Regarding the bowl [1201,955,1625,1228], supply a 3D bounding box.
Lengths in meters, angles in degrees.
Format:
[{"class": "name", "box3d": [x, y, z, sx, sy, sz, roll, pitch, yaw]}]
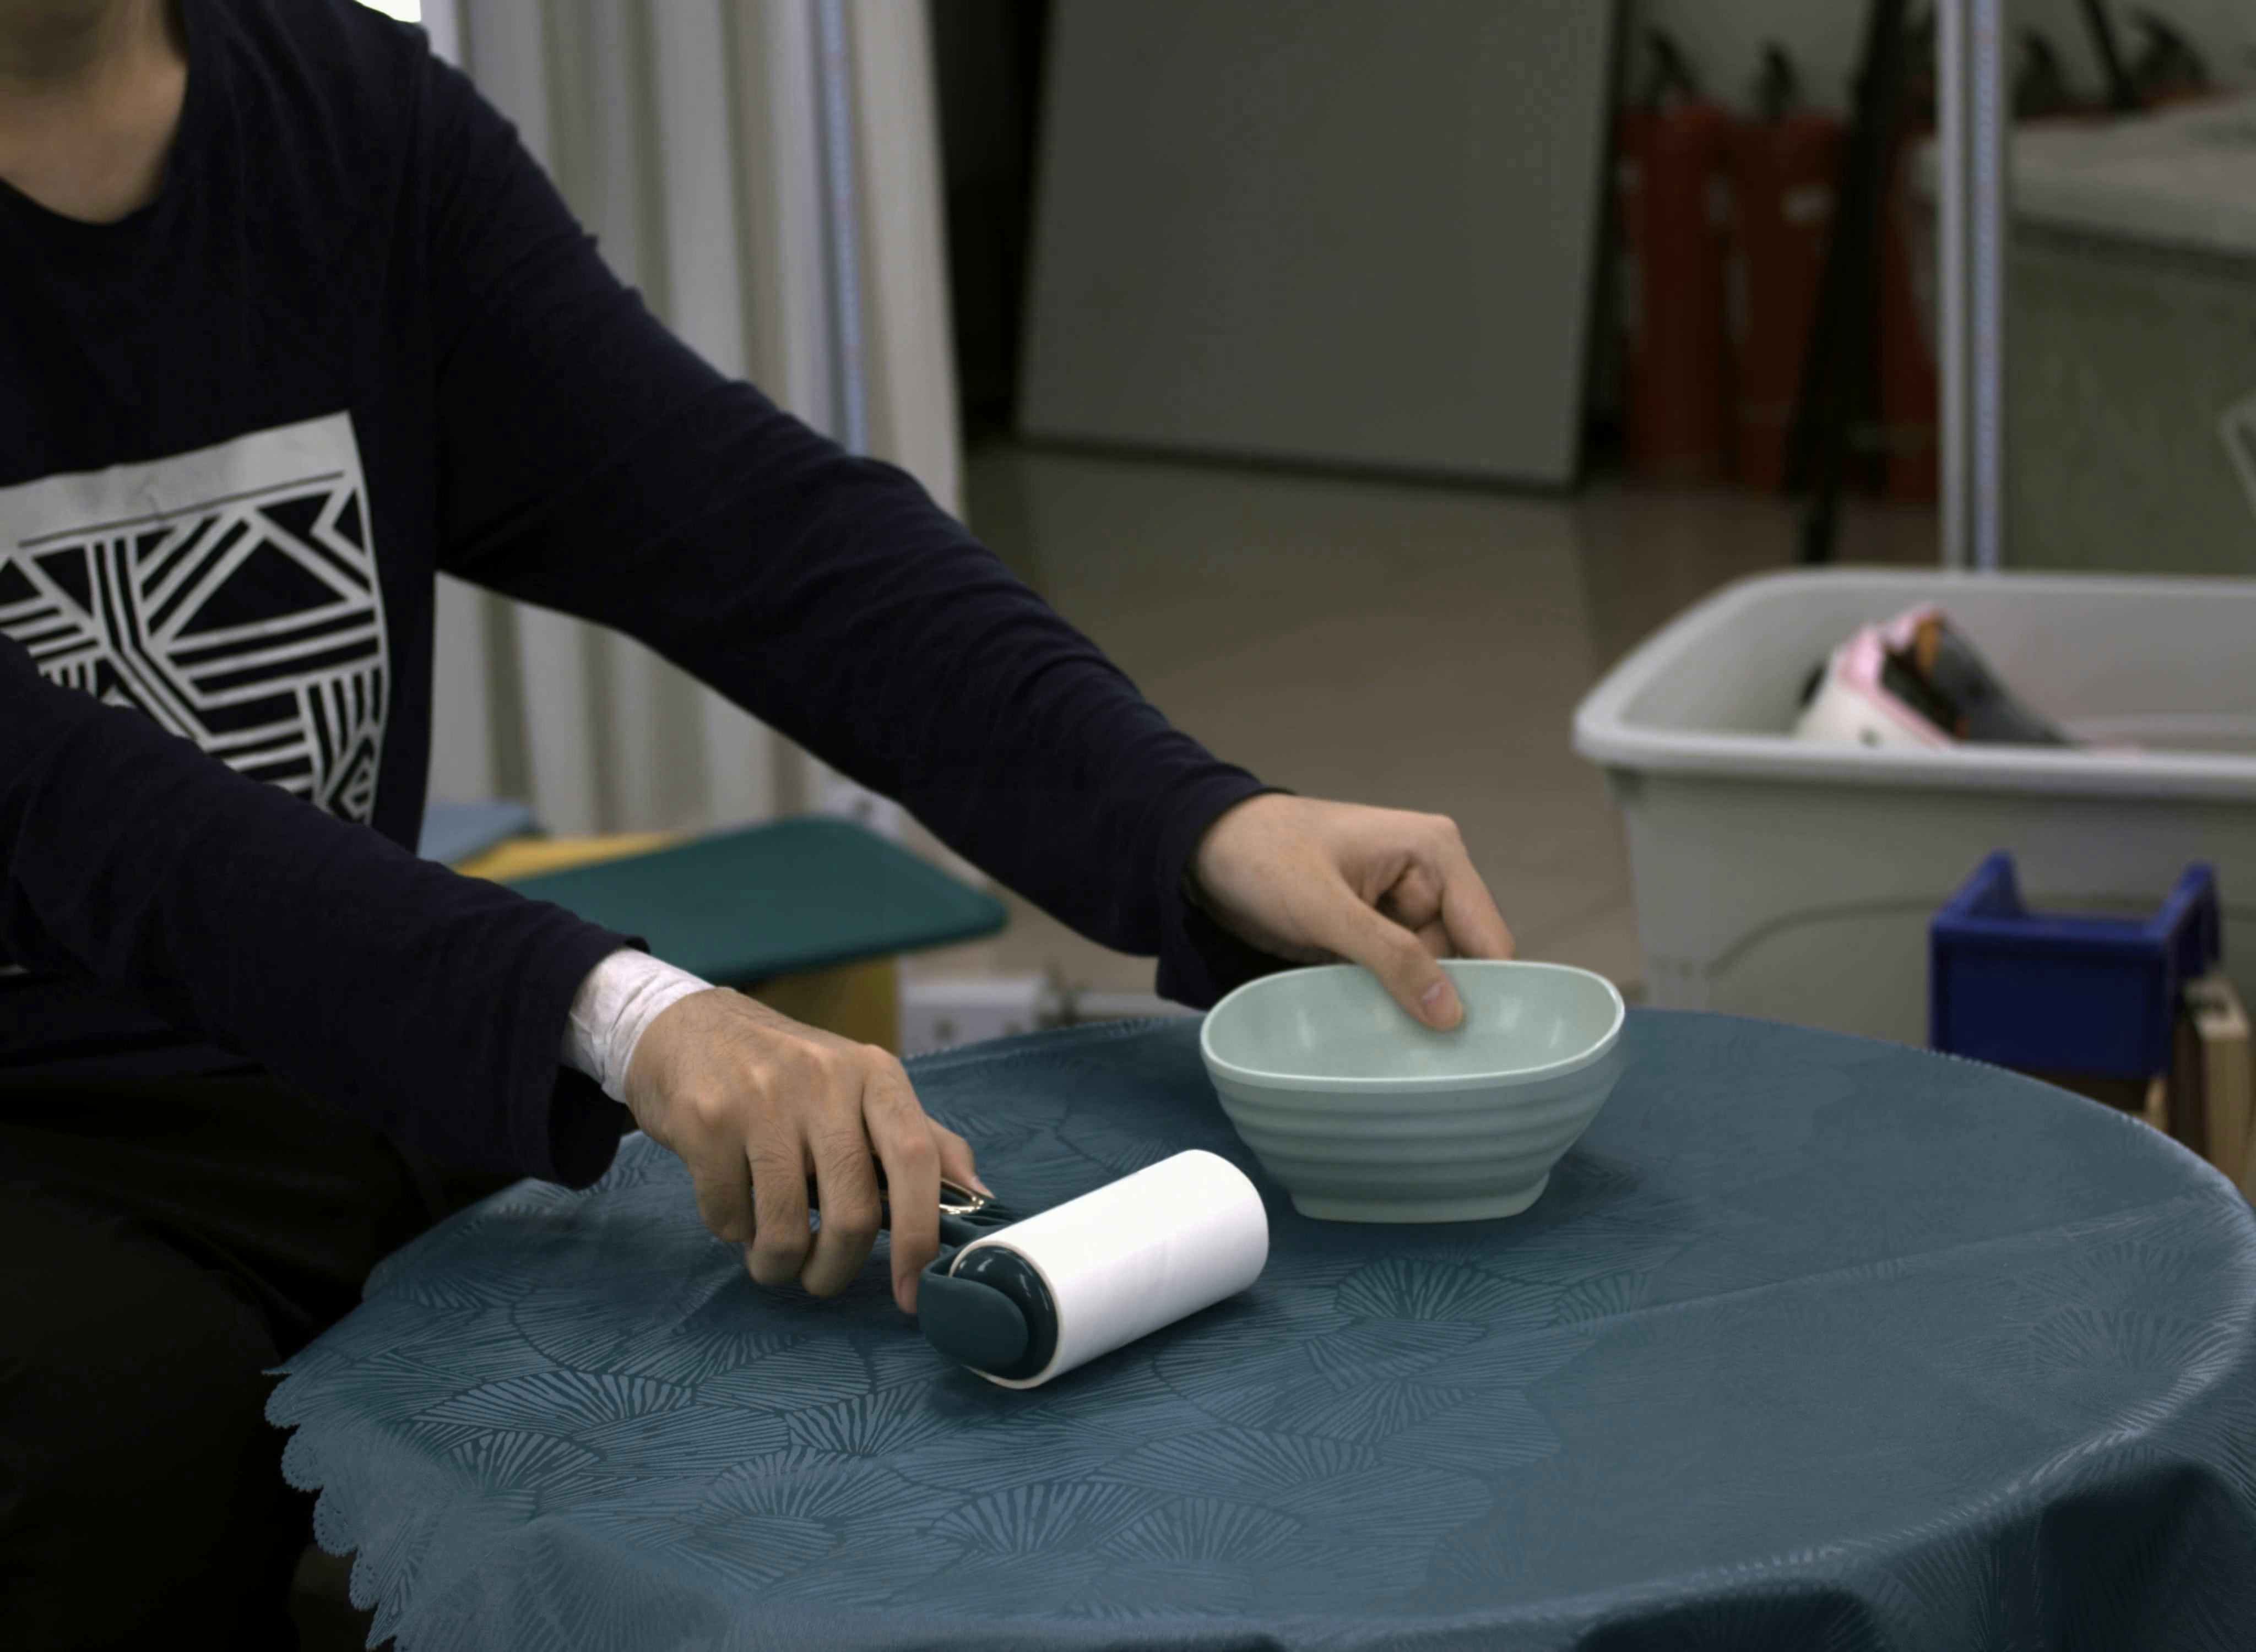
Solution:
[{"class": "bowl", "box3d": [0.093, 0.090, 1.756, 0.149, 0.059, 0.152, -2, 15, 0]}]

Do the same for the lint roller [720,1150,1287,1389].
[{"class": "lint roller", "box3d": [-0.057, 0.116, 1.665, 0.181, 0.049, 0.132, 18, 24, 37]}]
